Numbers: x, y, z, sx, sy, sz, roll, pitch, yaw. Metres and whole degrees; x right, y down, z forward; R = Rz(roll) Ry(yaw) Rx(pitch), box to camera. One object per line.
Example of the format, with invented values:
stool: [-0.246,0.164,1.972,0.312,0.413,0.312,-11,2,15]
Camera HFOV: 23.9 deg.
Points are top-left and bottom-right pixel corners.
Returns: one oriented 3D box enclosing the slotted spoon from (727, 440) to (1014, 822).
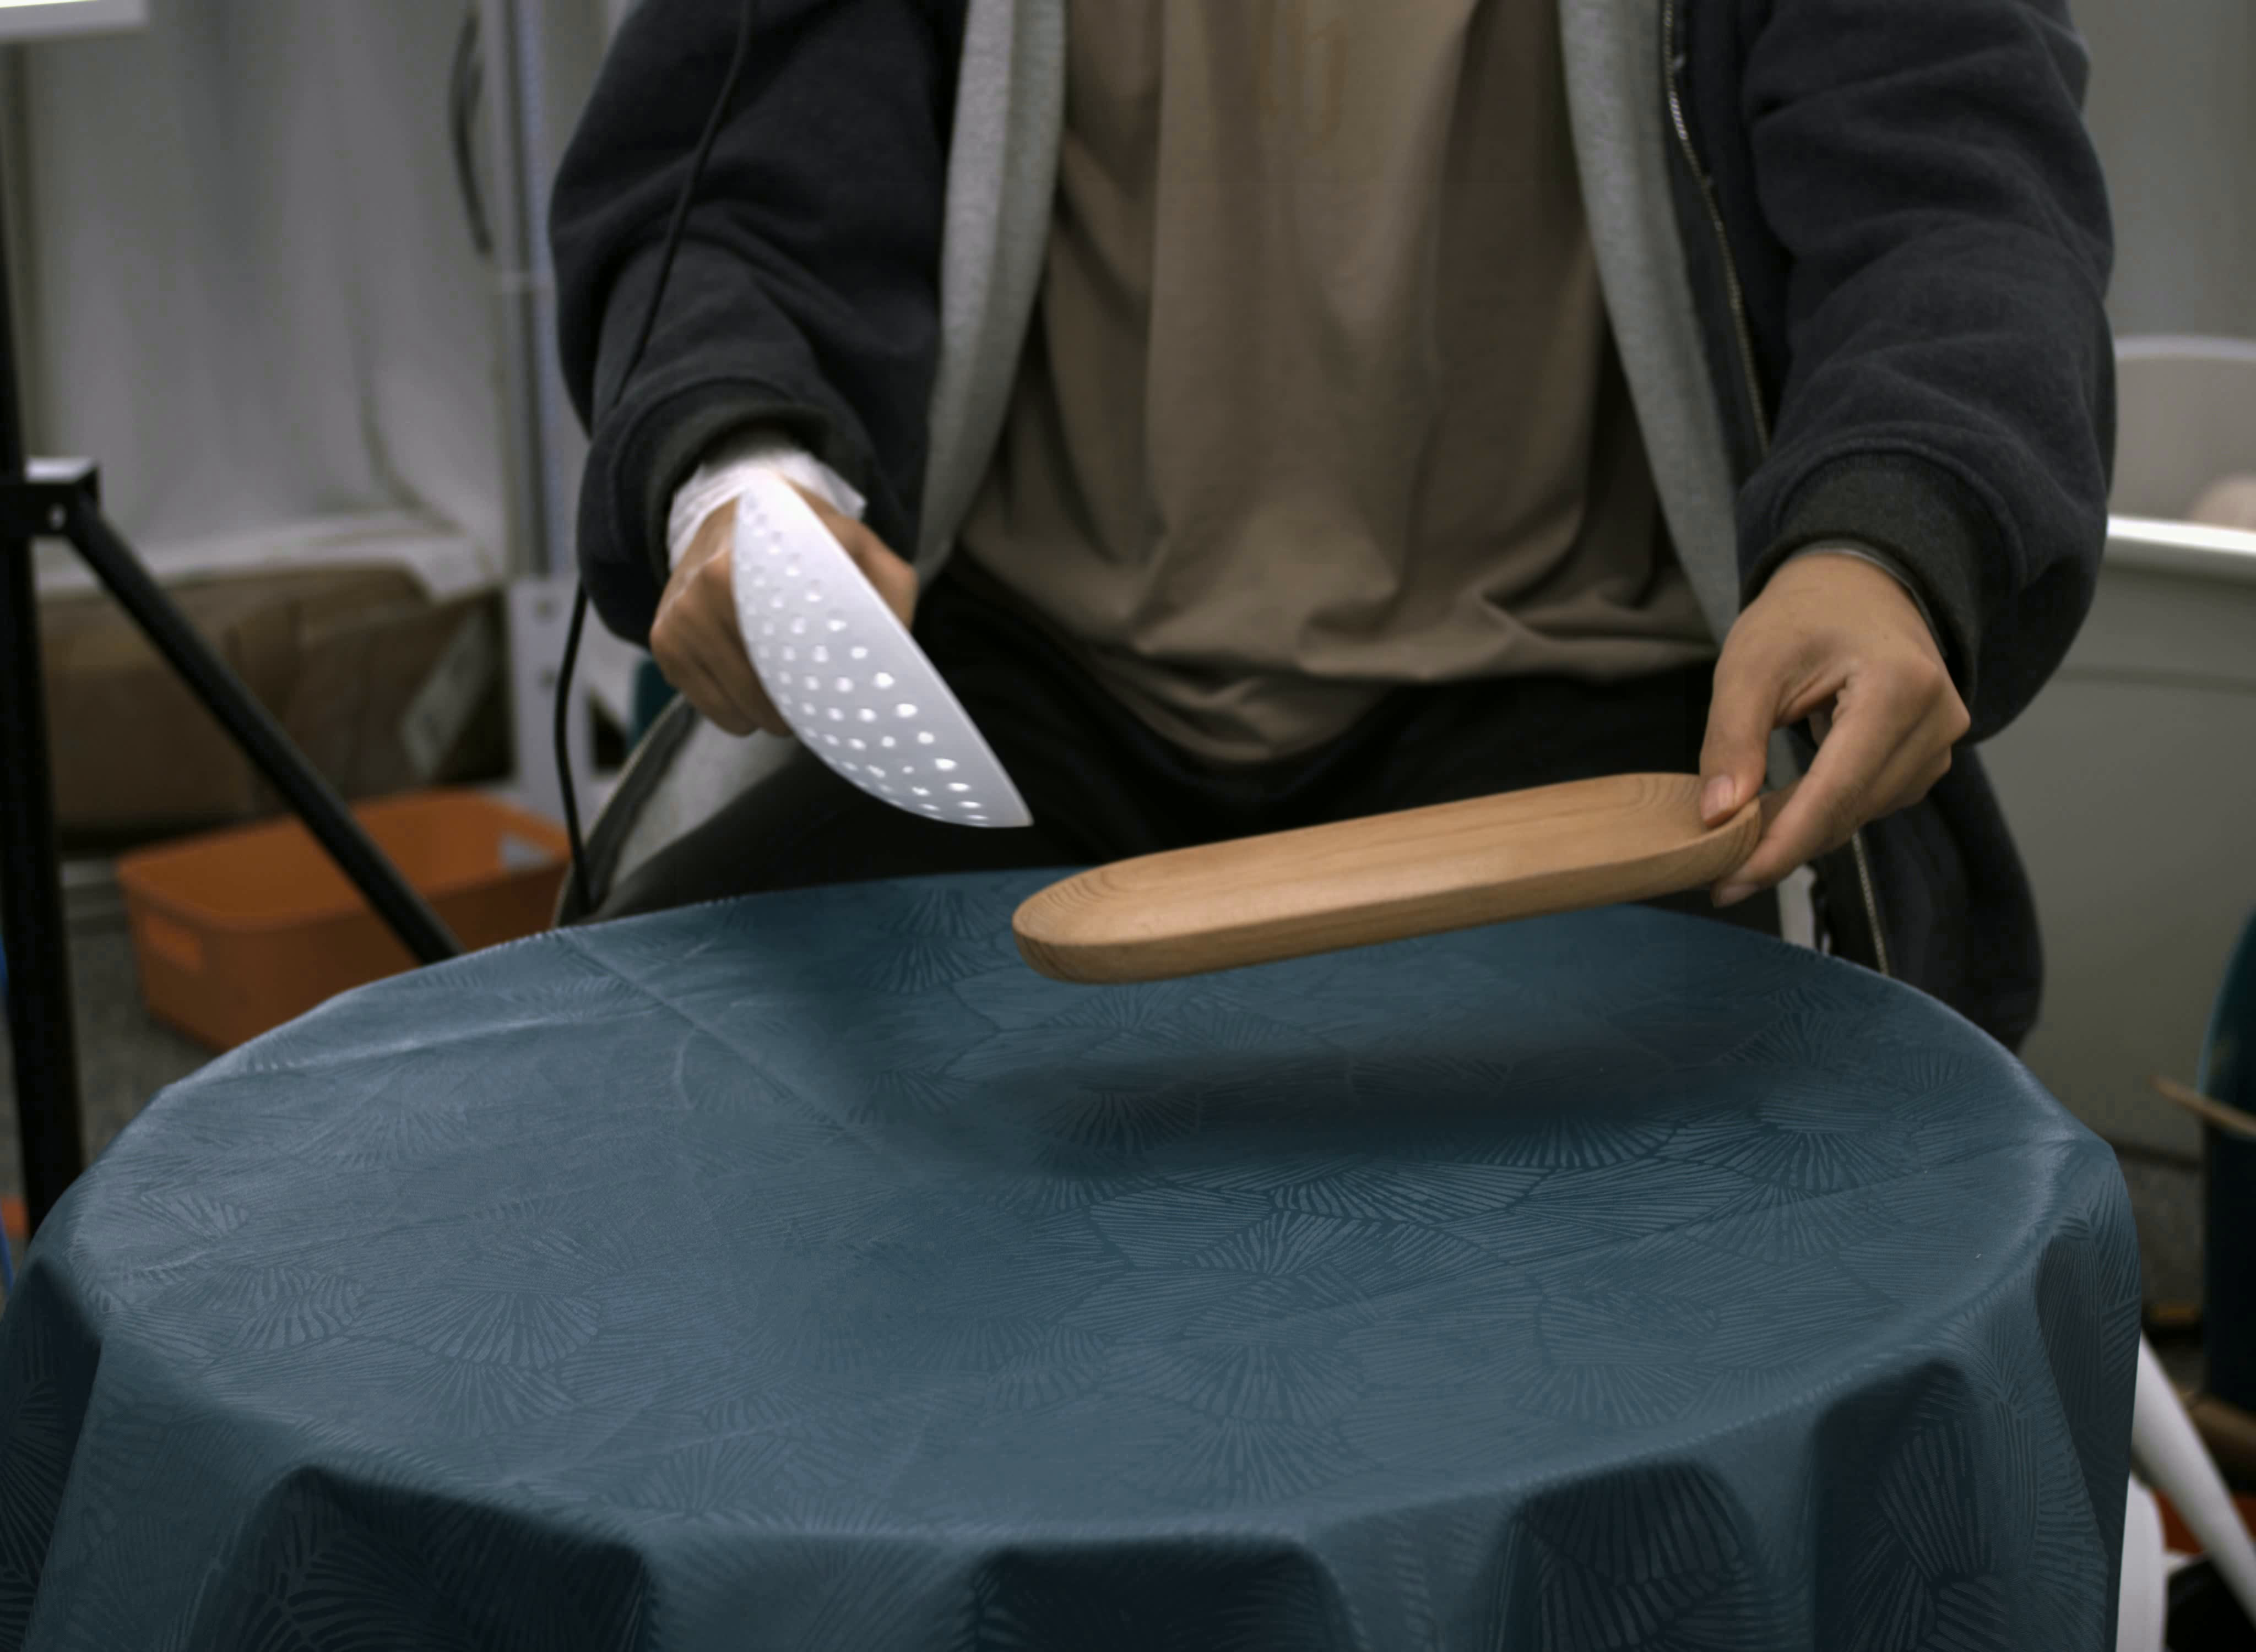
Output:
slotted spoon: [-0.090,-0.056,1.688,0.045,0.136,0.350,-35,4,0]

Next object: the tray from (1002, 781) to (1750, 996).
tray: [0.076,0.020,1.619,0.230,0.020,0.102,-11,13,1]
